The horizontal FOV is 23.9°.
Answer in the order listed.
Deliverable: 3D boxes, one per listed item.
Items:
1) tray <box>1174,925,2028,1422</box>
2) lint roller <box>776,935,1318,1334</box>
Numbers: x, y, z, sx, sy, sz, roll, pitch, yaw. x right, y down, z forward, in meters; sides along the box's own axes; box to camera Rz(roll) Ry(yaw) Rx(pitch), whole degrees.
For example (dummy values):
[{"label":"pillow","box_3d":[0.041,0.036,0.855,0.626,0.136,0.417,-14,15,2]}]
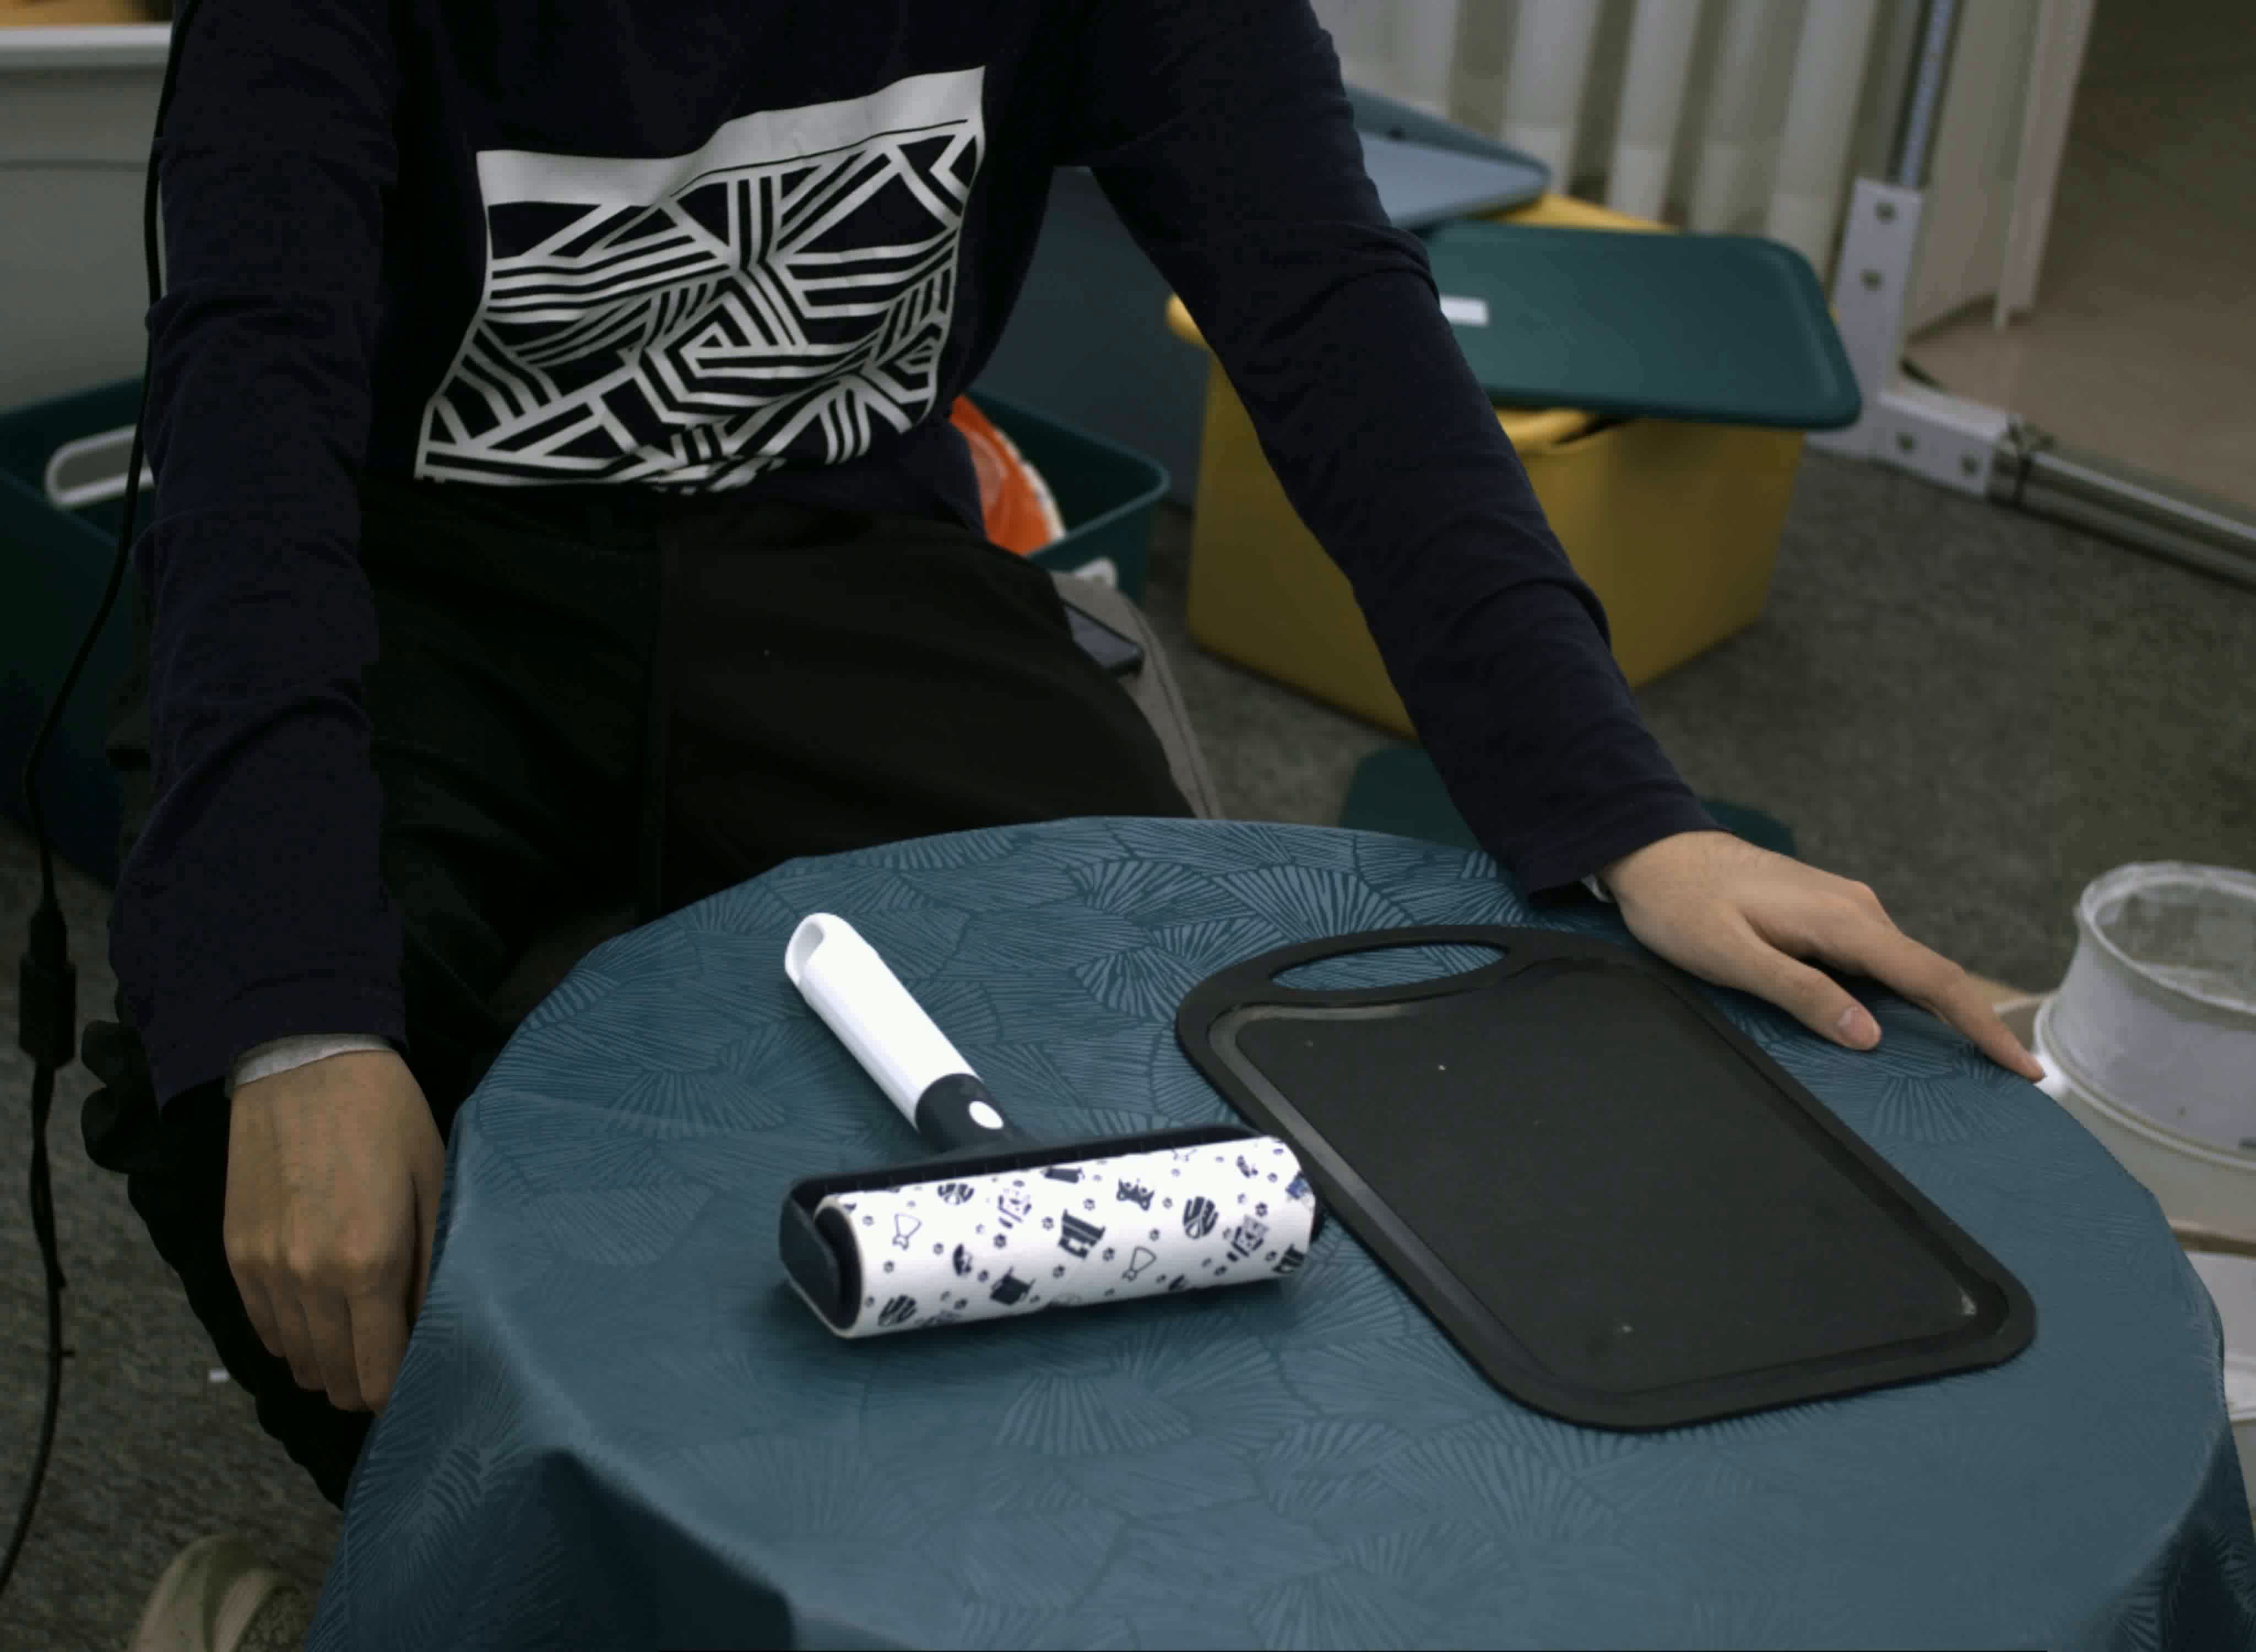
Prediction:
[{"label":"tray","box_3d":[0.155,0.112,1.858,0.210,0.010,0.328,-7,29,-25]},{"label":"lint roller","box_3d":[-0.065,0.090,1.812,0.175,0.050,0.249,-8,28,-24]}]
